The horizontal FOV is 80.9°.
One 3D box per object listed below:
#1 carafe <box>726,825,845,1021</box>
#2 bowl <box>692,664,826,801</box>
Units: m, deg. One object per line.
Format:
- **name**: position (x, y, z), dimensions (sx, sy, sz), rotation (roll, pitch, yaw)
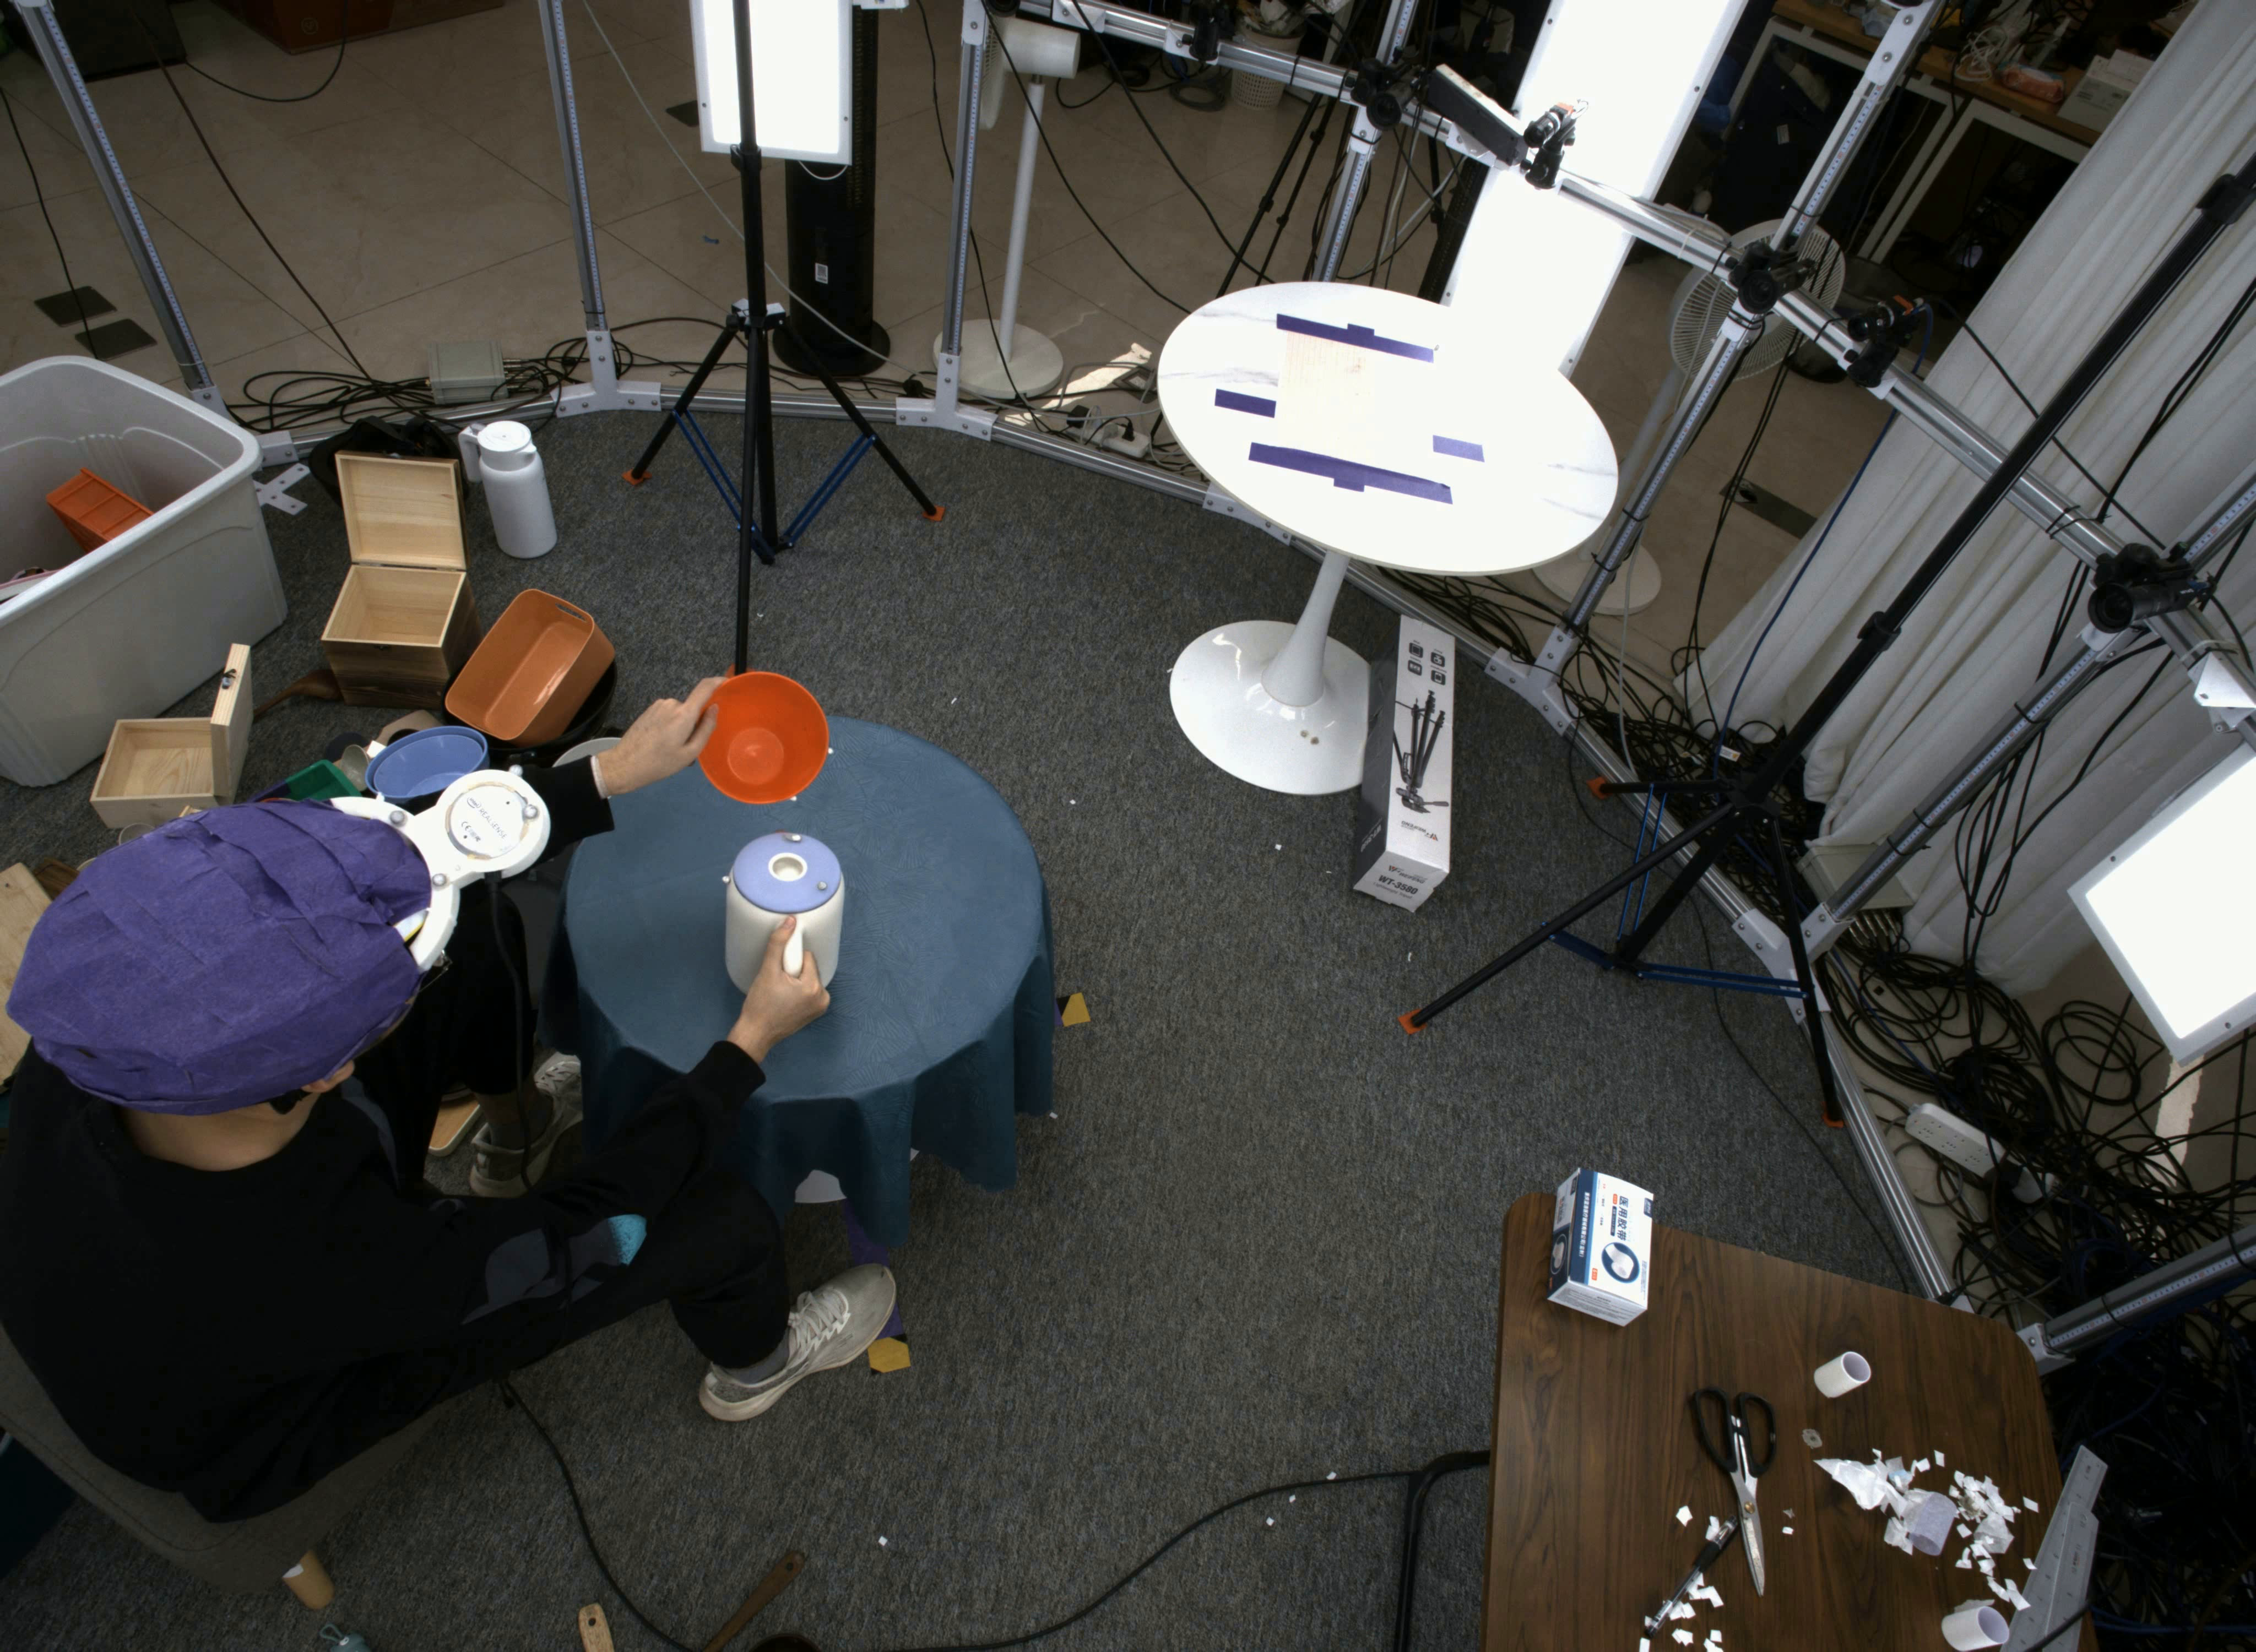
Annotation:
- **carafe**: position (-0.391, 0.122, 1.486), dimensions (0.133, 0.186, 0.186), rotation (-4, 51, -20)
- **bowl**: position (-0.426, -0.101, 1.486), dimensions (0.149, 0.103, 0.149), rotation (2, 86, -20)
